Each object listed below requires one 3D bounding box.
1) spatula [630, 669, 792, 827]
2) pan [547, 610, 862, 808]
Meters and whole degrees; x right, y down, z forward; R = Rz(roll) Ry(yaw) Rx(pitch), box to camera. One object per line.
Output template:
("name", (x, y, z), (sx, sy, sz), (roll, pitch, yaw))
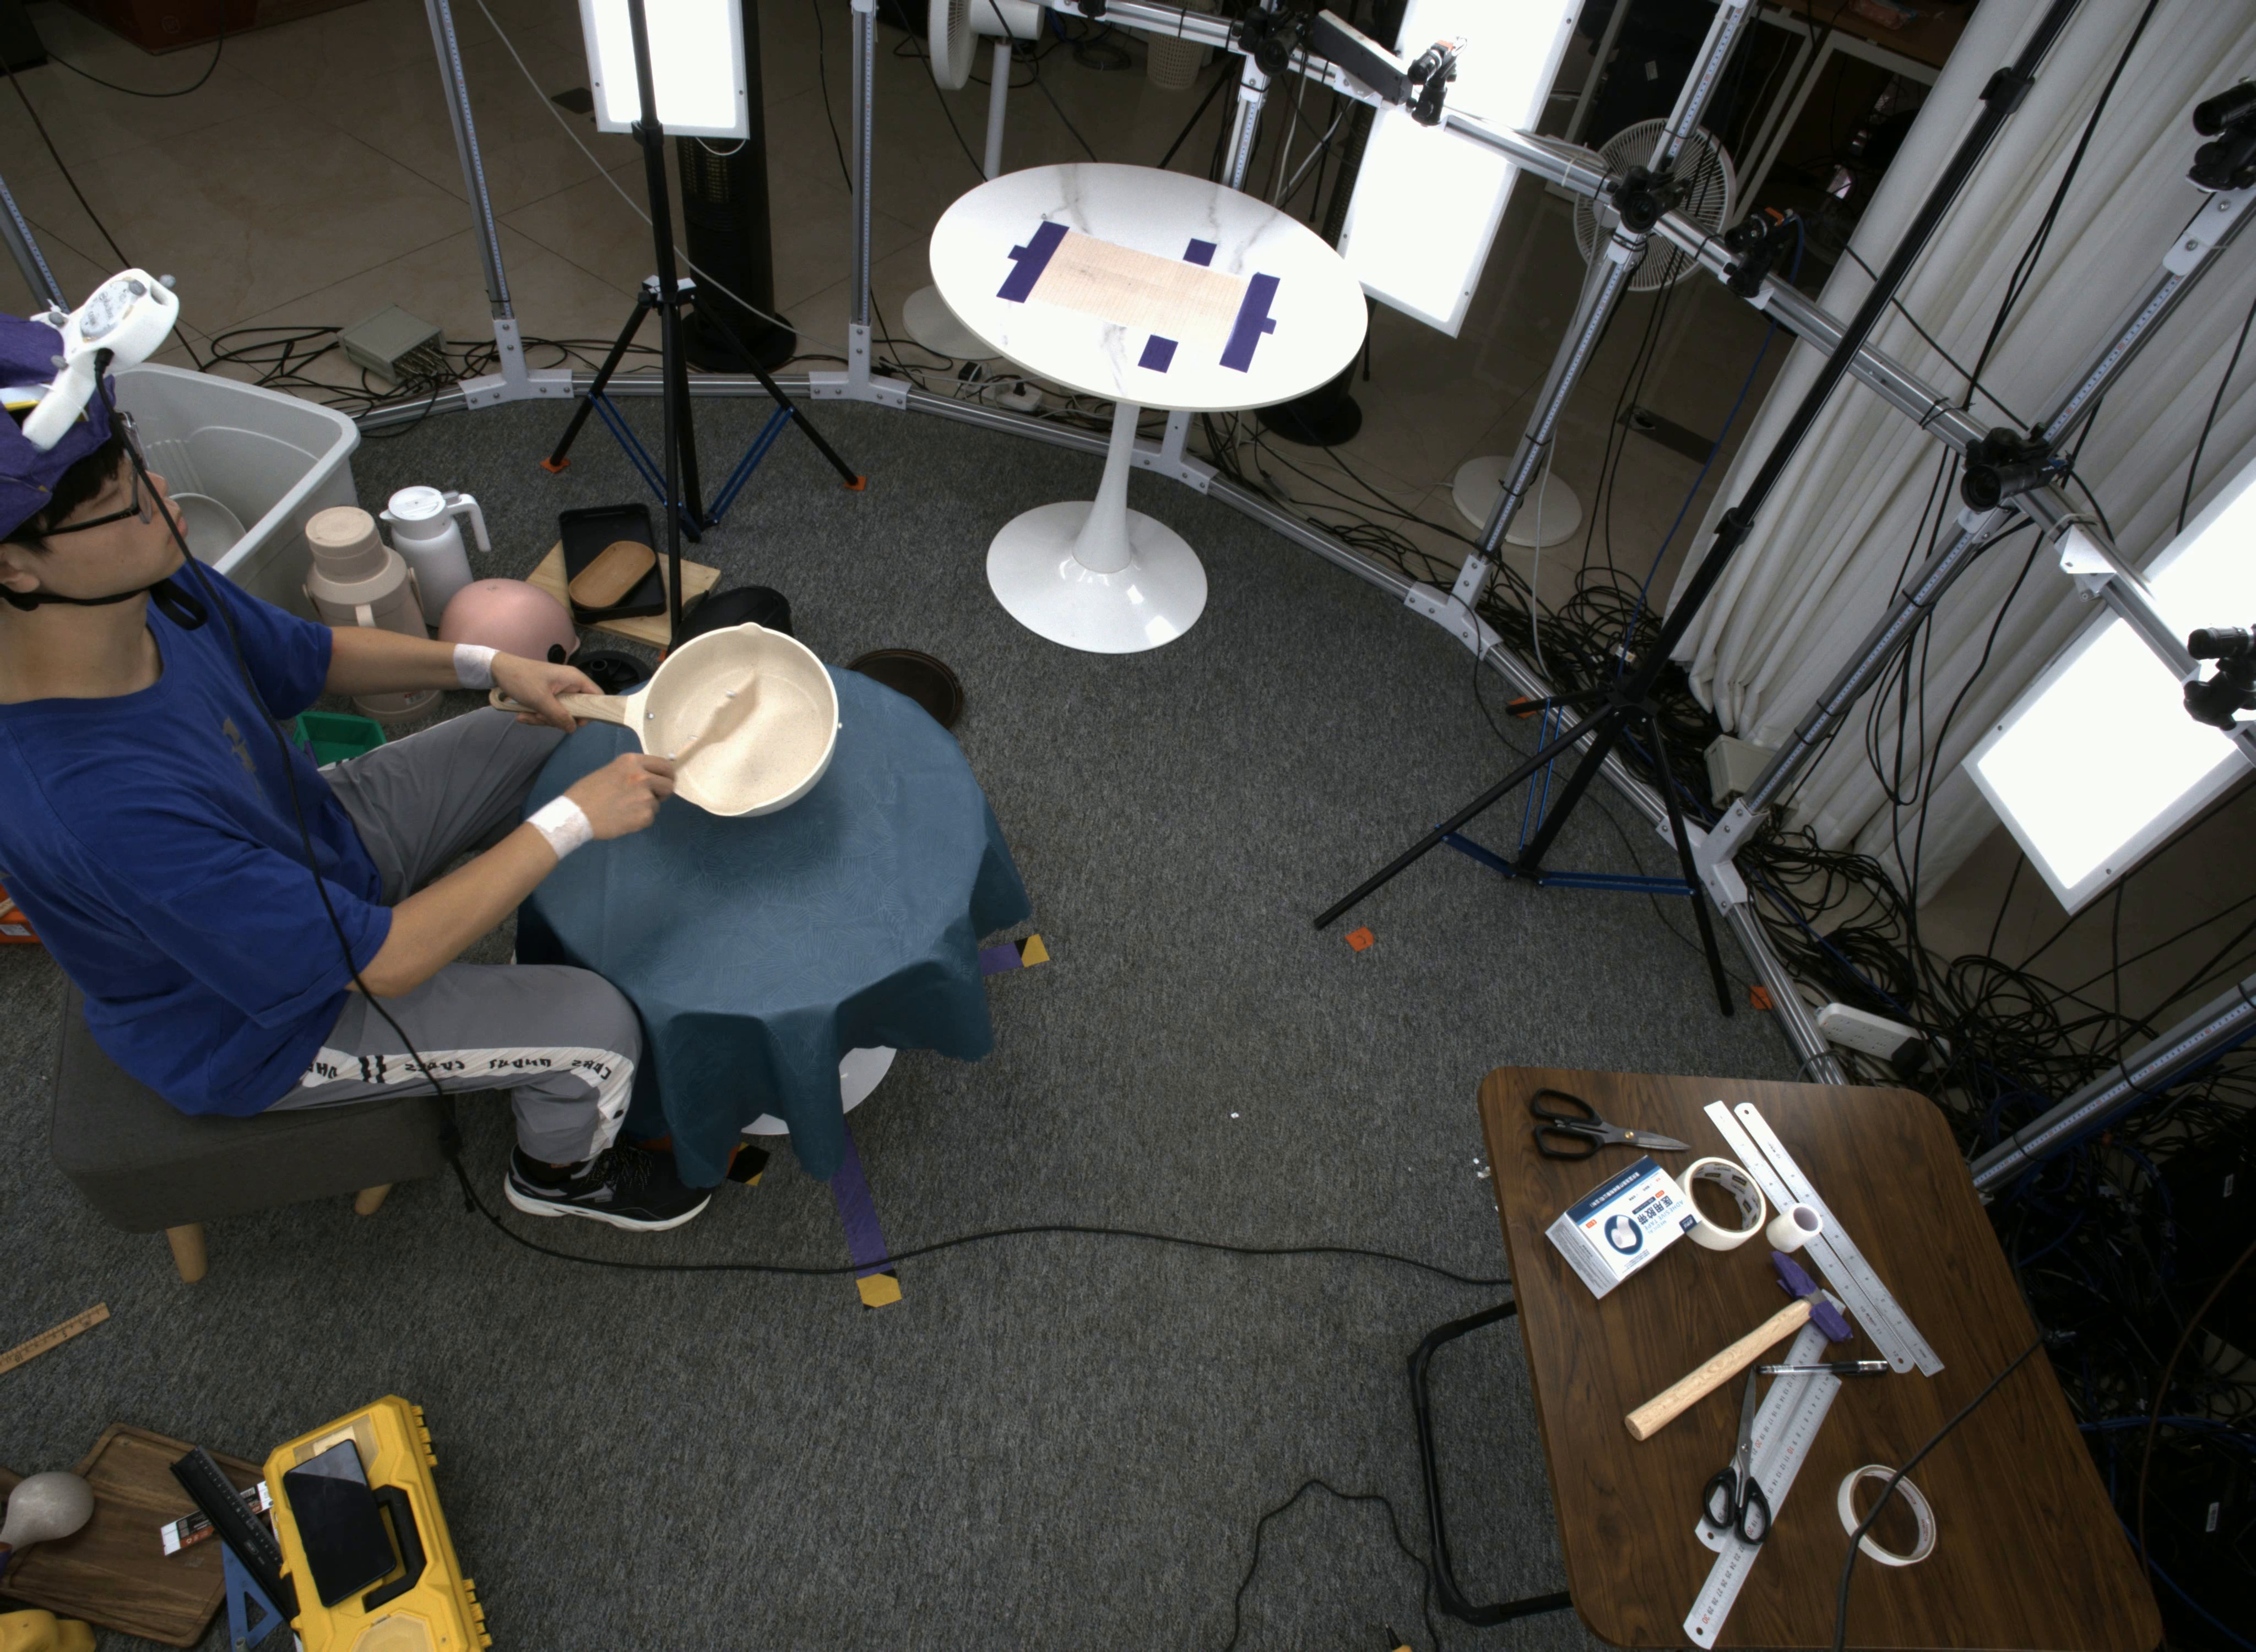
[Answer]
("spatula", (-0.507, -0.094, 1.579), (0.010, 0.073, 0.292), (34, 50, 7))
("pan", (-0.557, -0.147, 1.671), (0.432, 0.103, 0.263), (3, 76, -4))
